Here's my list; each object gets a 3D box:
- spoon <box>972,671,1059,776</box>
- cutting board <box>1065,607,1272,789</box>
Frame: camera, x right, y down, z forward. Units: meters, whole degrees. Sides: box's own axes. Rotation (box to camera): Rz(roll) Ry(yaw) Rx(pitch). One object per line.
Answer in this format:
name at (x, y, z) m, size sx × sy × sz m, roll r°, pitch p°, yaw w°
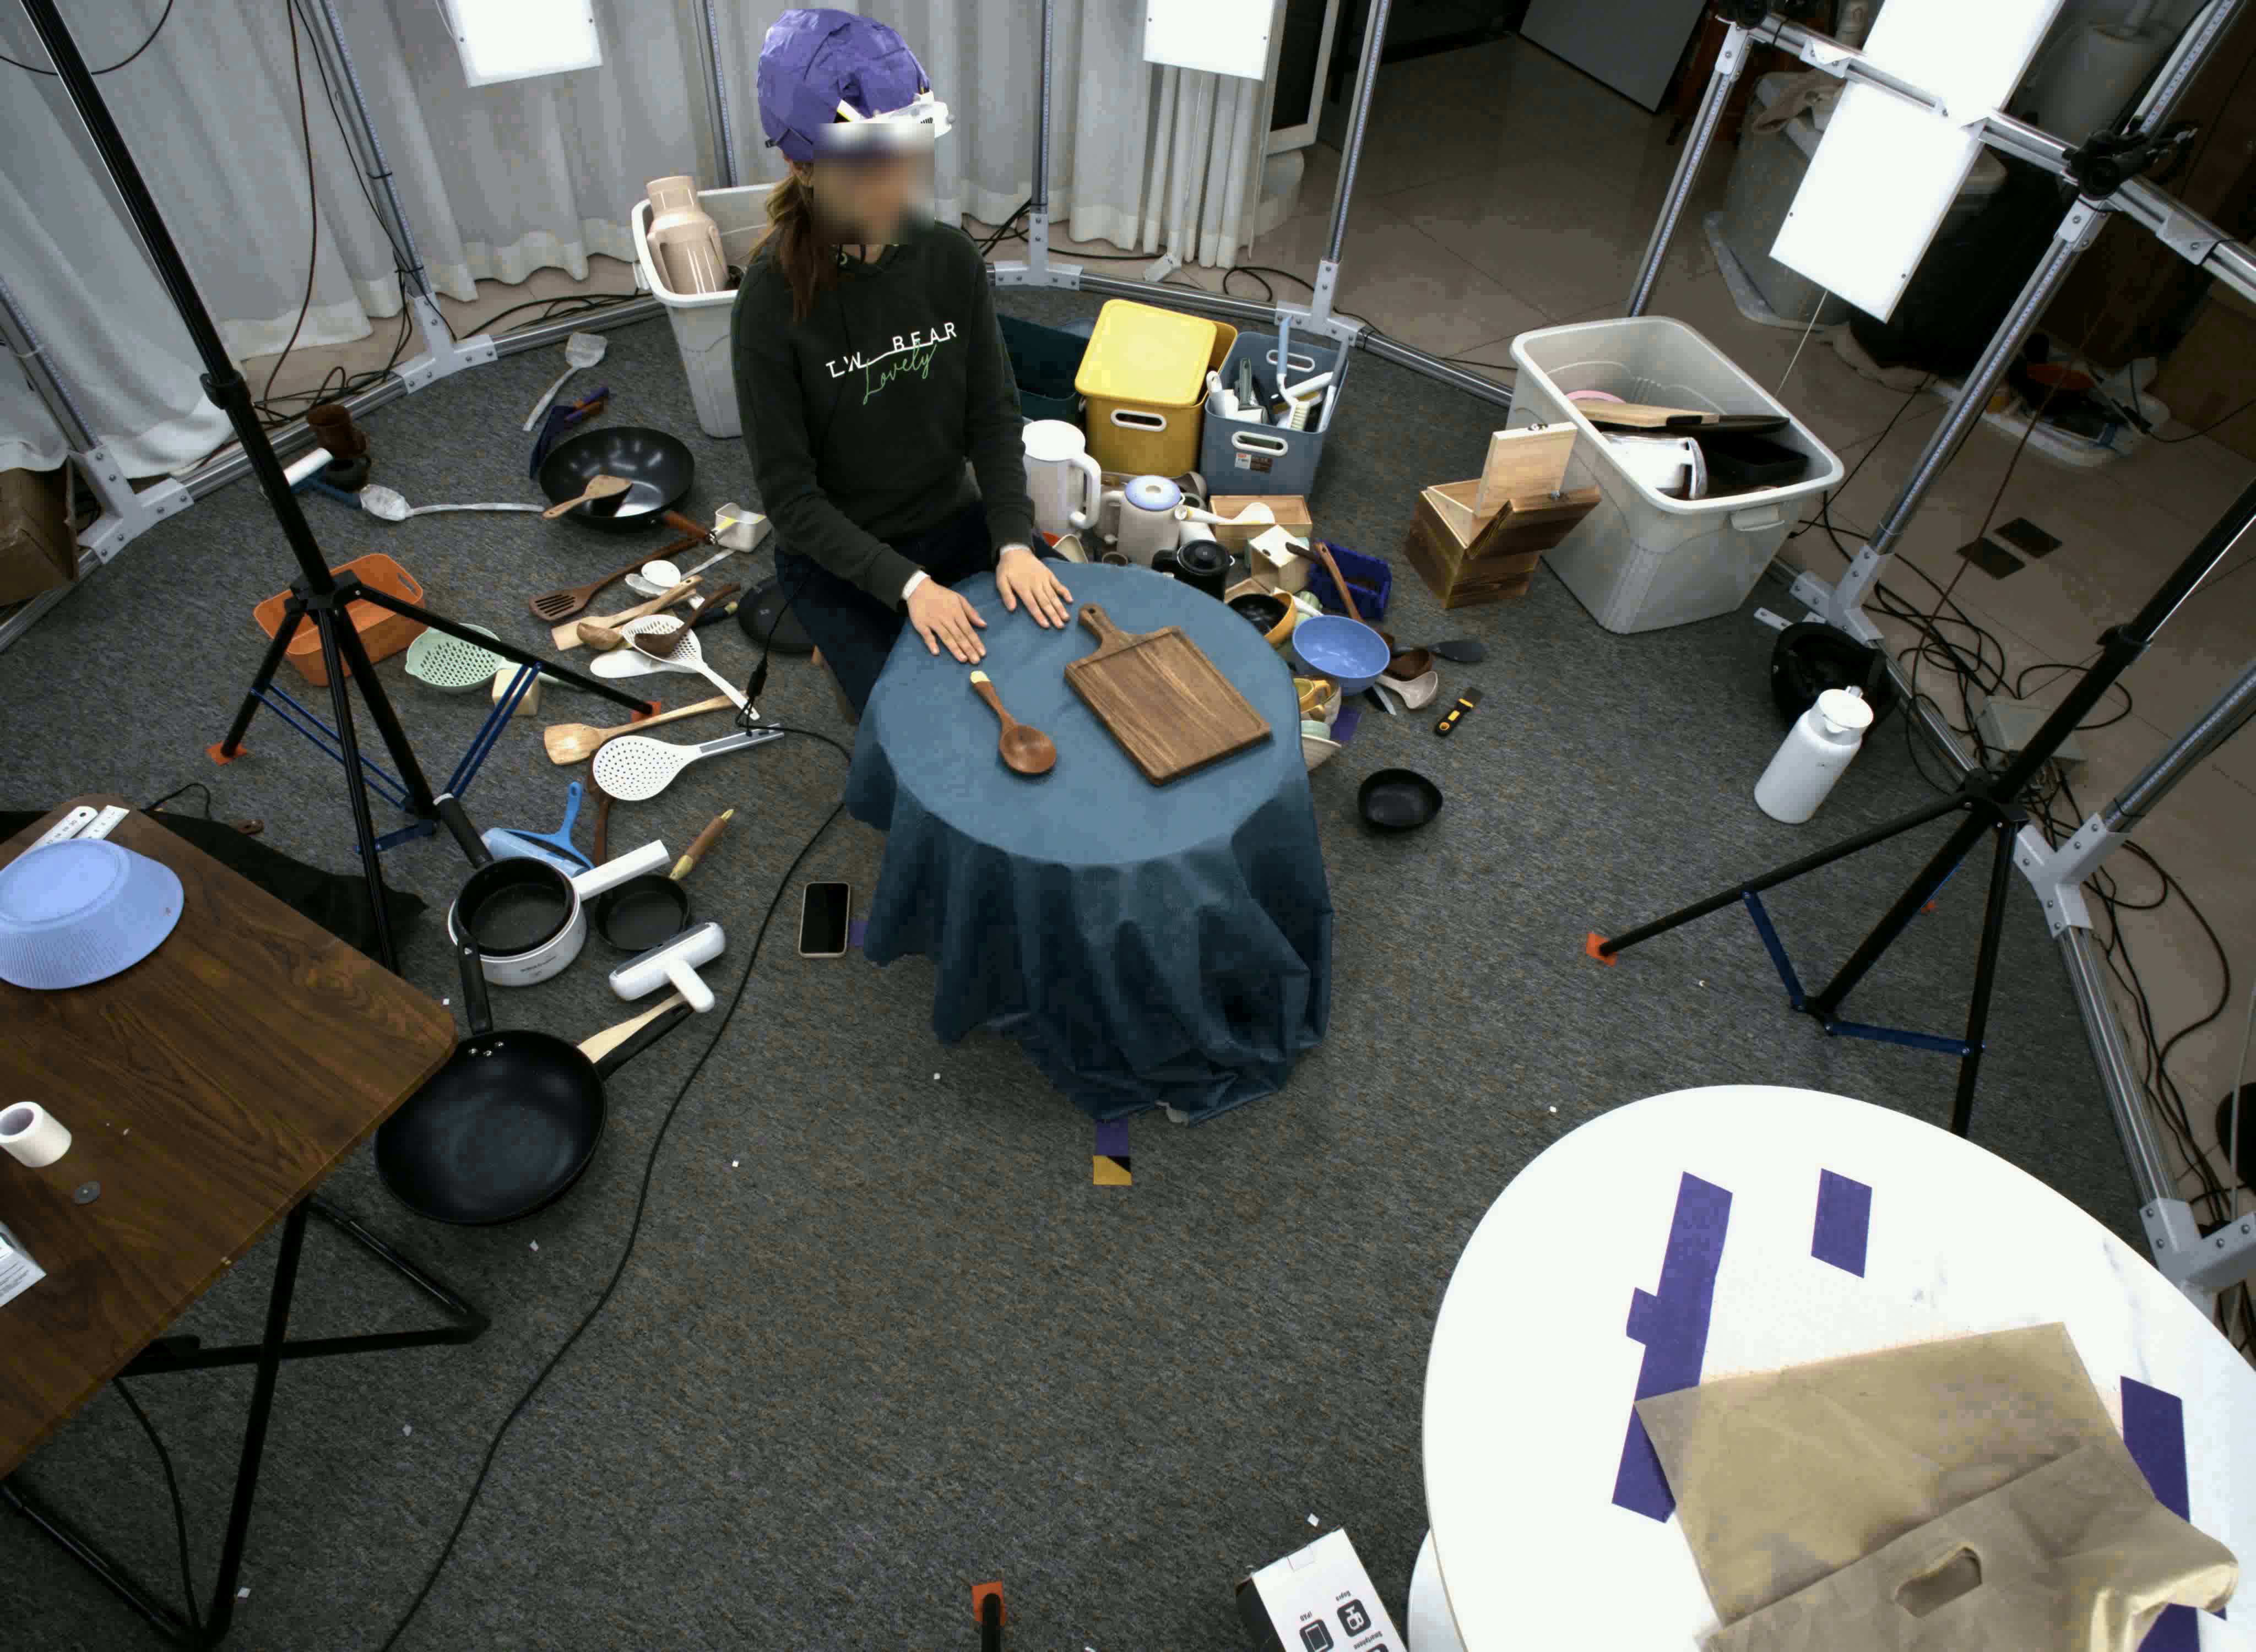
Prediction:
spoon at (-0.164, -0.144, 1.787) m, size 0.075 × 0.017 × 0.220 m, roll -21°, pitch 54°, yaw -19°
cutting board at (0.030, -0.207, 1.856) m, size 0.202 × 0.022 × 0.359 m, roll -24°, pitch 54°, yaw -21°
